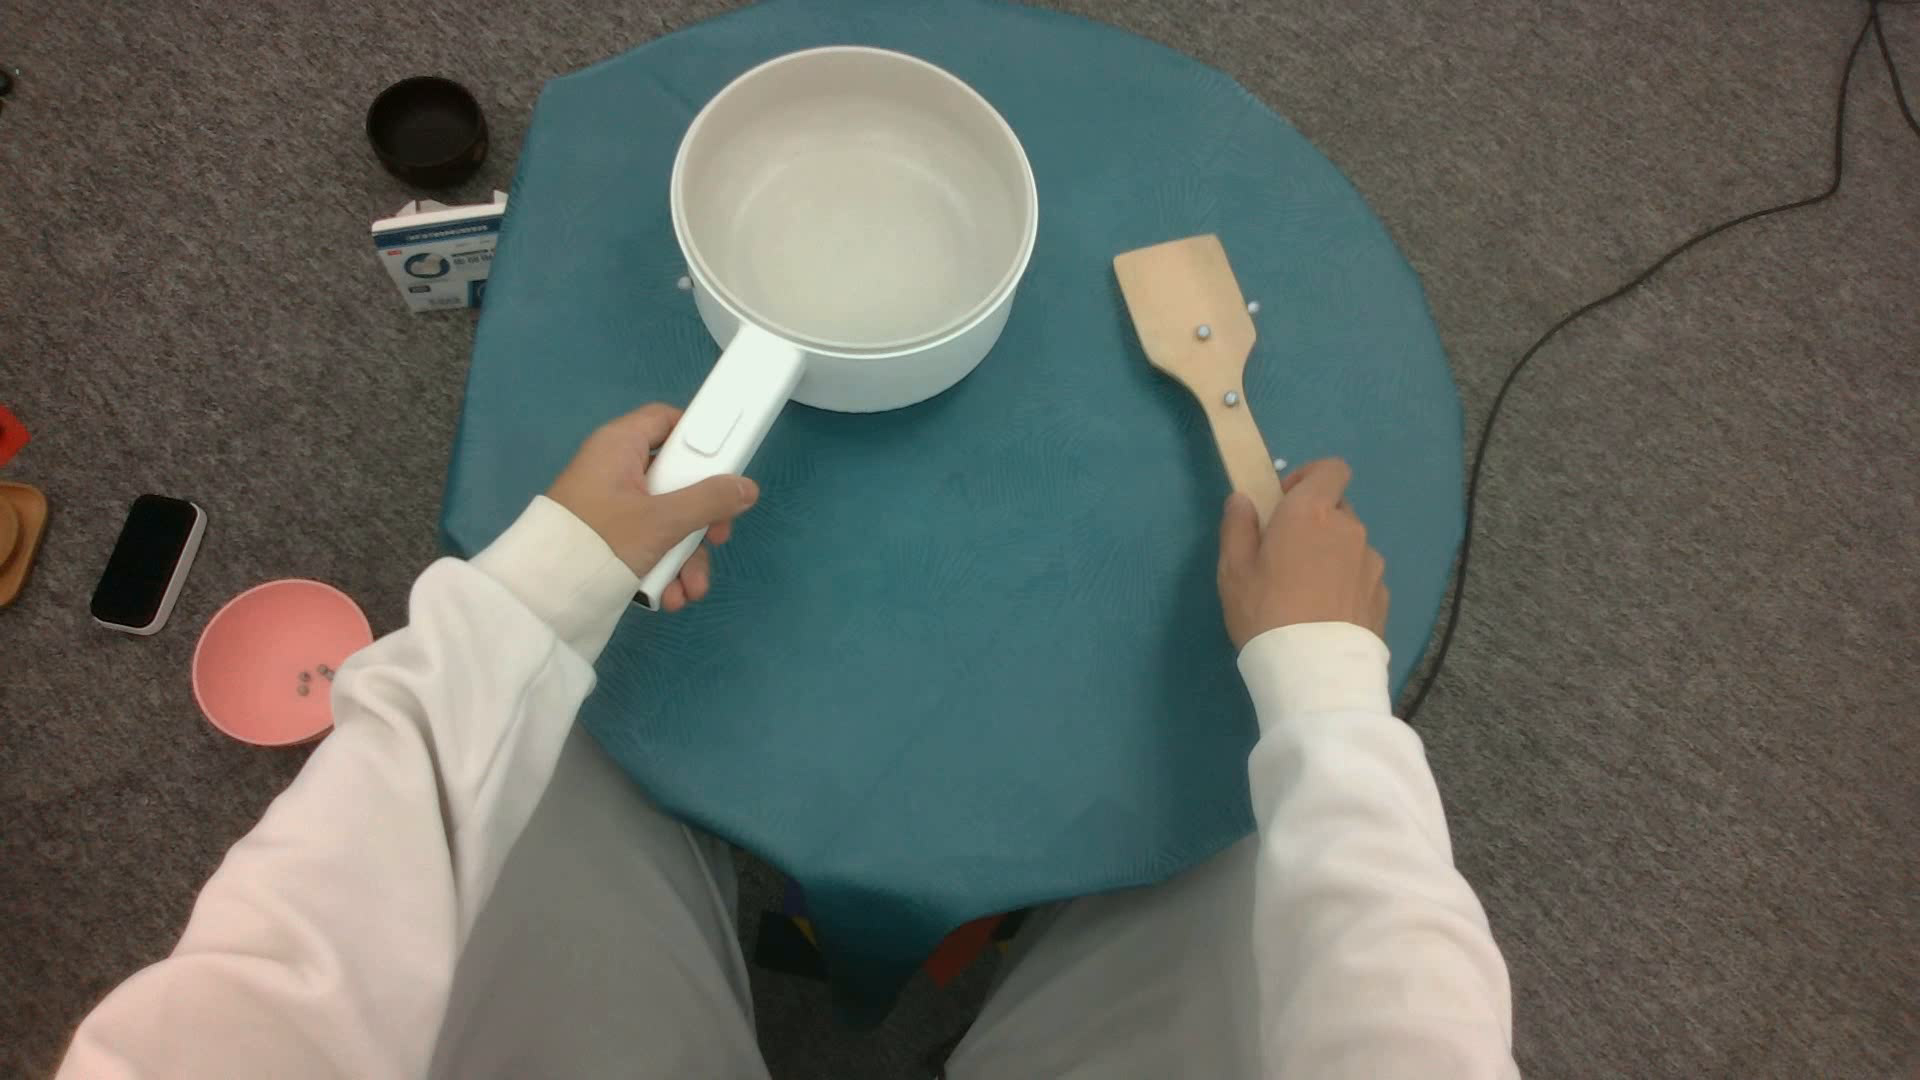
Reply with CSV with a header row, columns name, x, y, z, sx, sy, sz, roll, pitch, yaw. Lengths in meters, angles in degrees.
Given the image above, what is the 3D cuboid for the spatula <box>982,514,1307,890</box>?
name,x,y,z,sx,sy,sz,roll,pitch,yaw
spatula,0.111,0.090,0.825,0.072,0.010,0.293,-28,51,-10

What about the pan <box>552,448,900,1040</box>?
name,x,y,z,sx,sy,sz,roll,pitch,yaw
pan,-0.147,0.113,0.796,0.201,0.101,0.356,8,55,5
